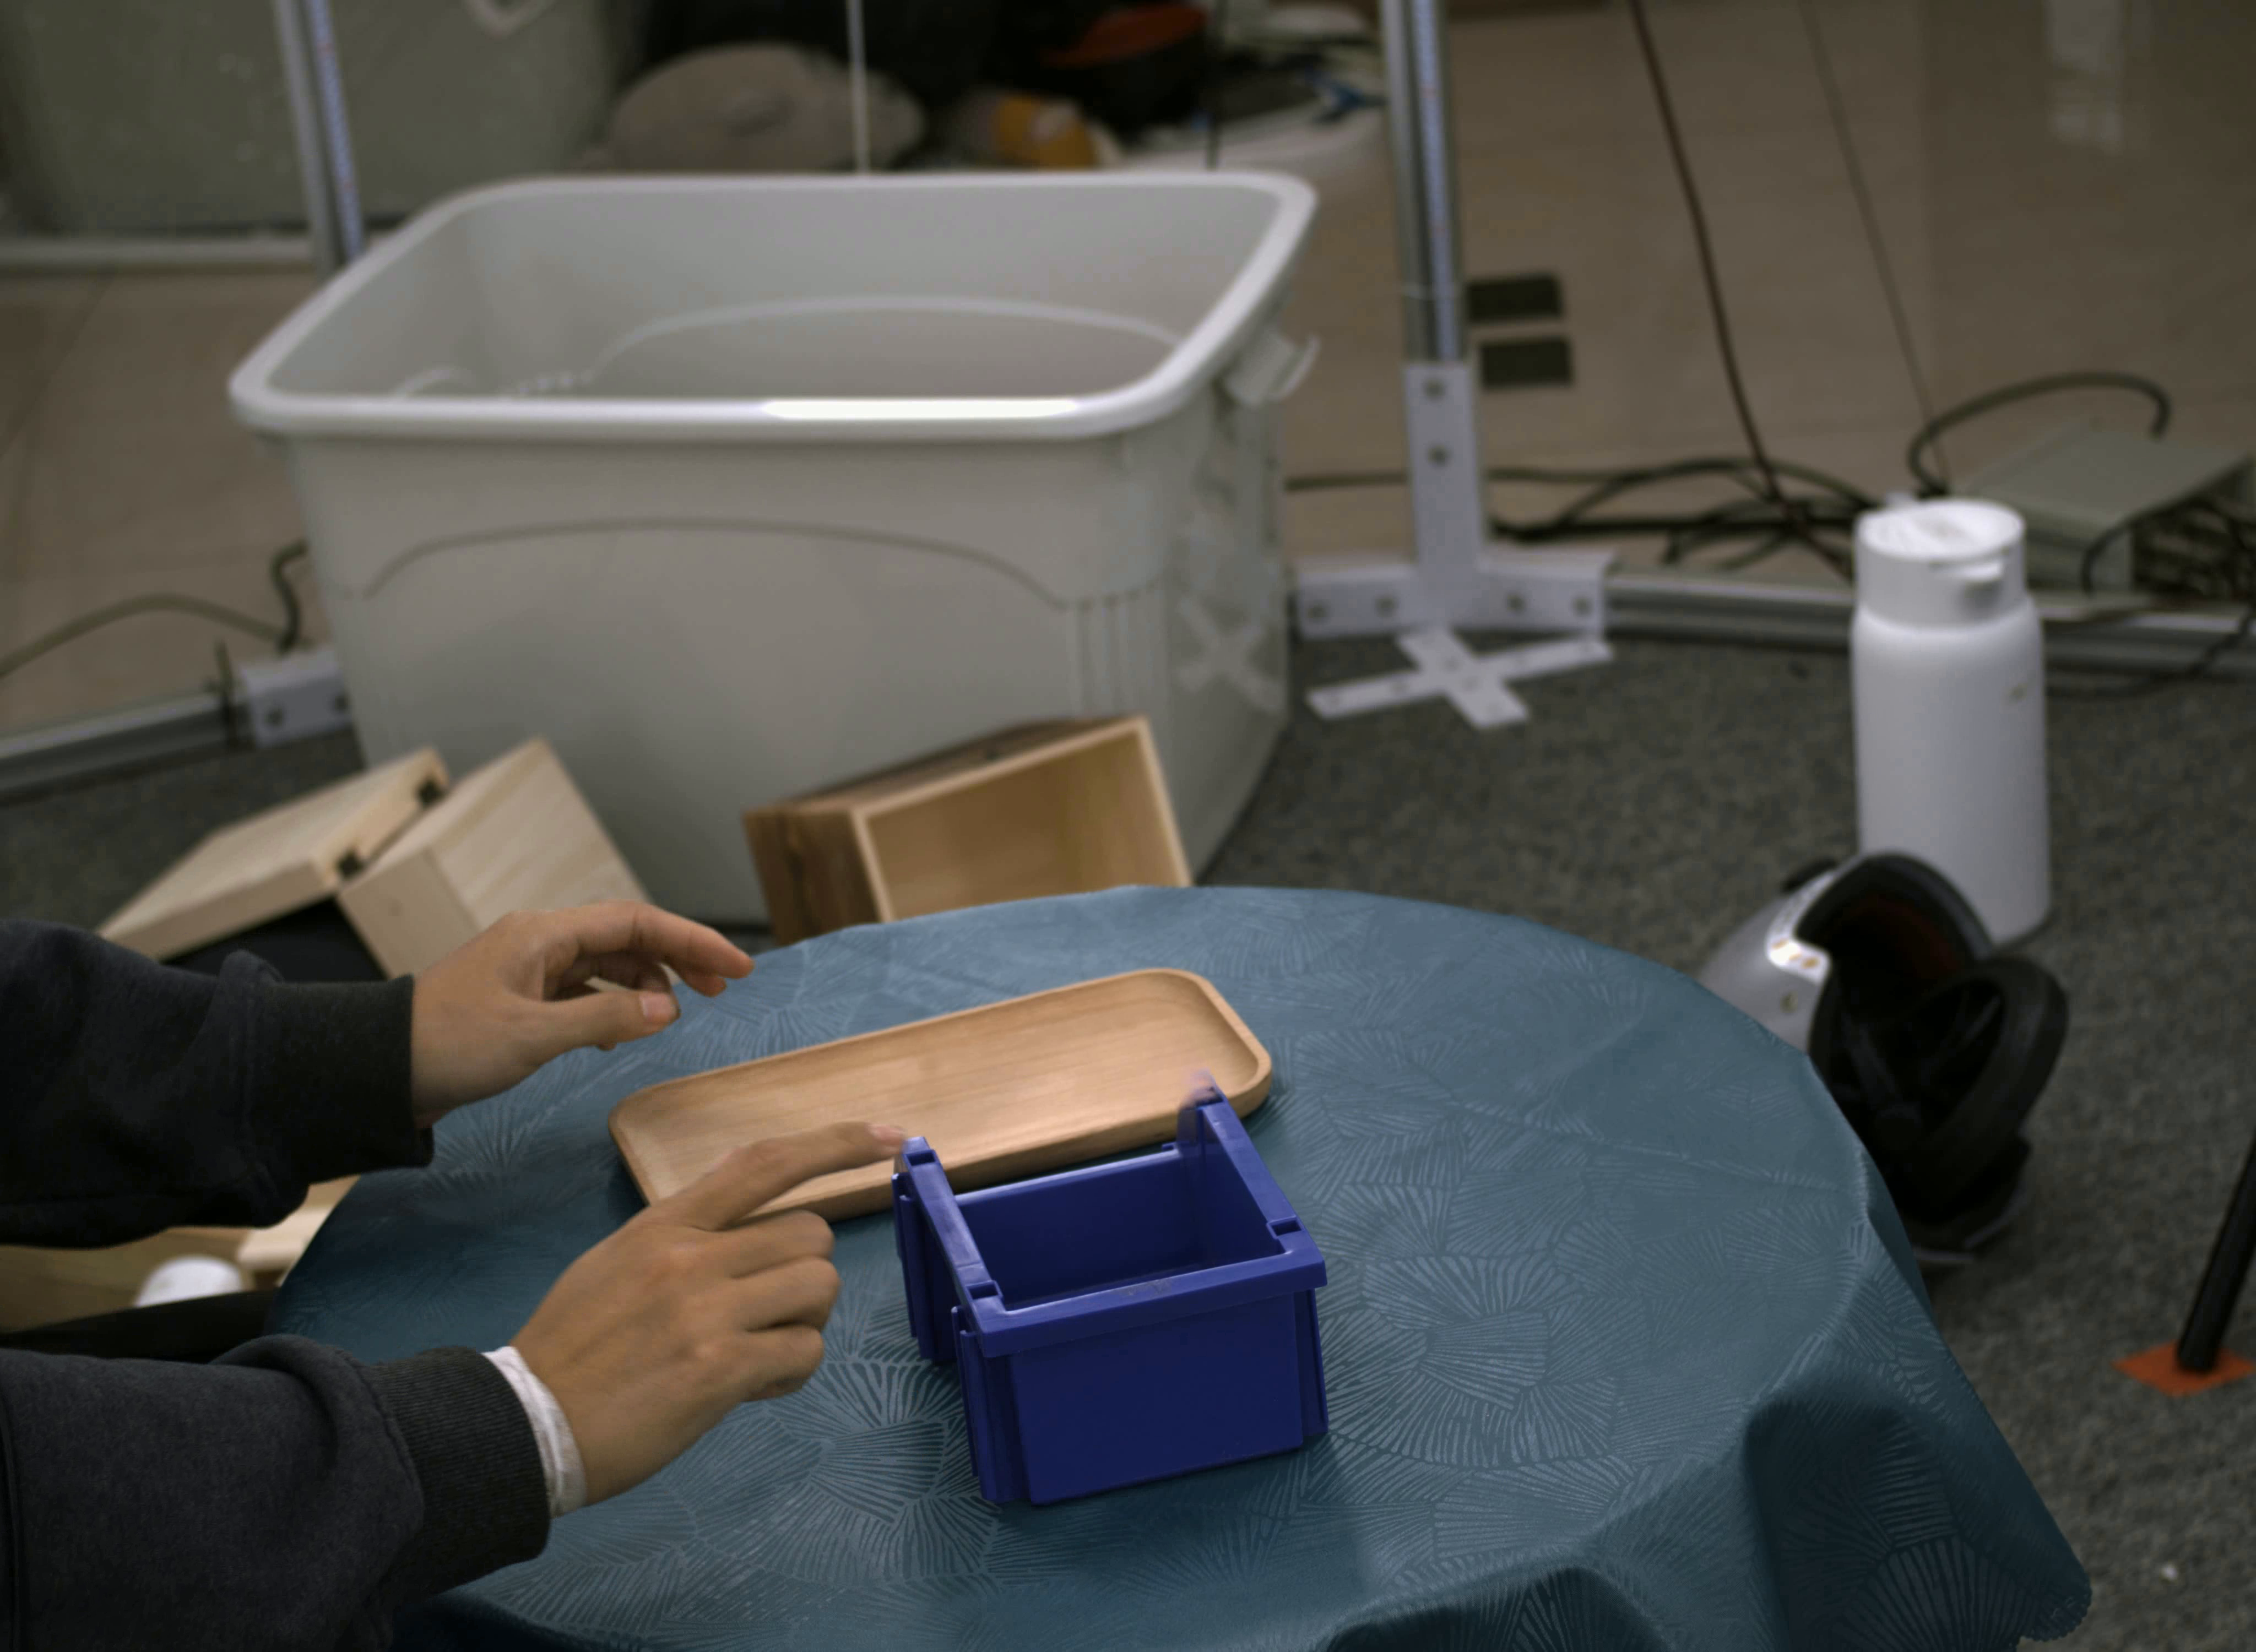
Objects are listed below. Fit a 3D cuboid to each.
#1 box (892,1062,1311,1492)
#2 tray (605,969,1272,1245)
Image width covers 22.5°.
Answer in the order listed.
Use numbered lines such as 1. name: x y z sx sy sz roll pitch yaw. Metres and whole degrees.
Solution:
1. box: -0.013 0.156 2.016 0.124 0.083 0.176 -10 28 -8
2. tray: -0.074 0.109 2.209 0.250 0.023 0.129 -13 23 -13
